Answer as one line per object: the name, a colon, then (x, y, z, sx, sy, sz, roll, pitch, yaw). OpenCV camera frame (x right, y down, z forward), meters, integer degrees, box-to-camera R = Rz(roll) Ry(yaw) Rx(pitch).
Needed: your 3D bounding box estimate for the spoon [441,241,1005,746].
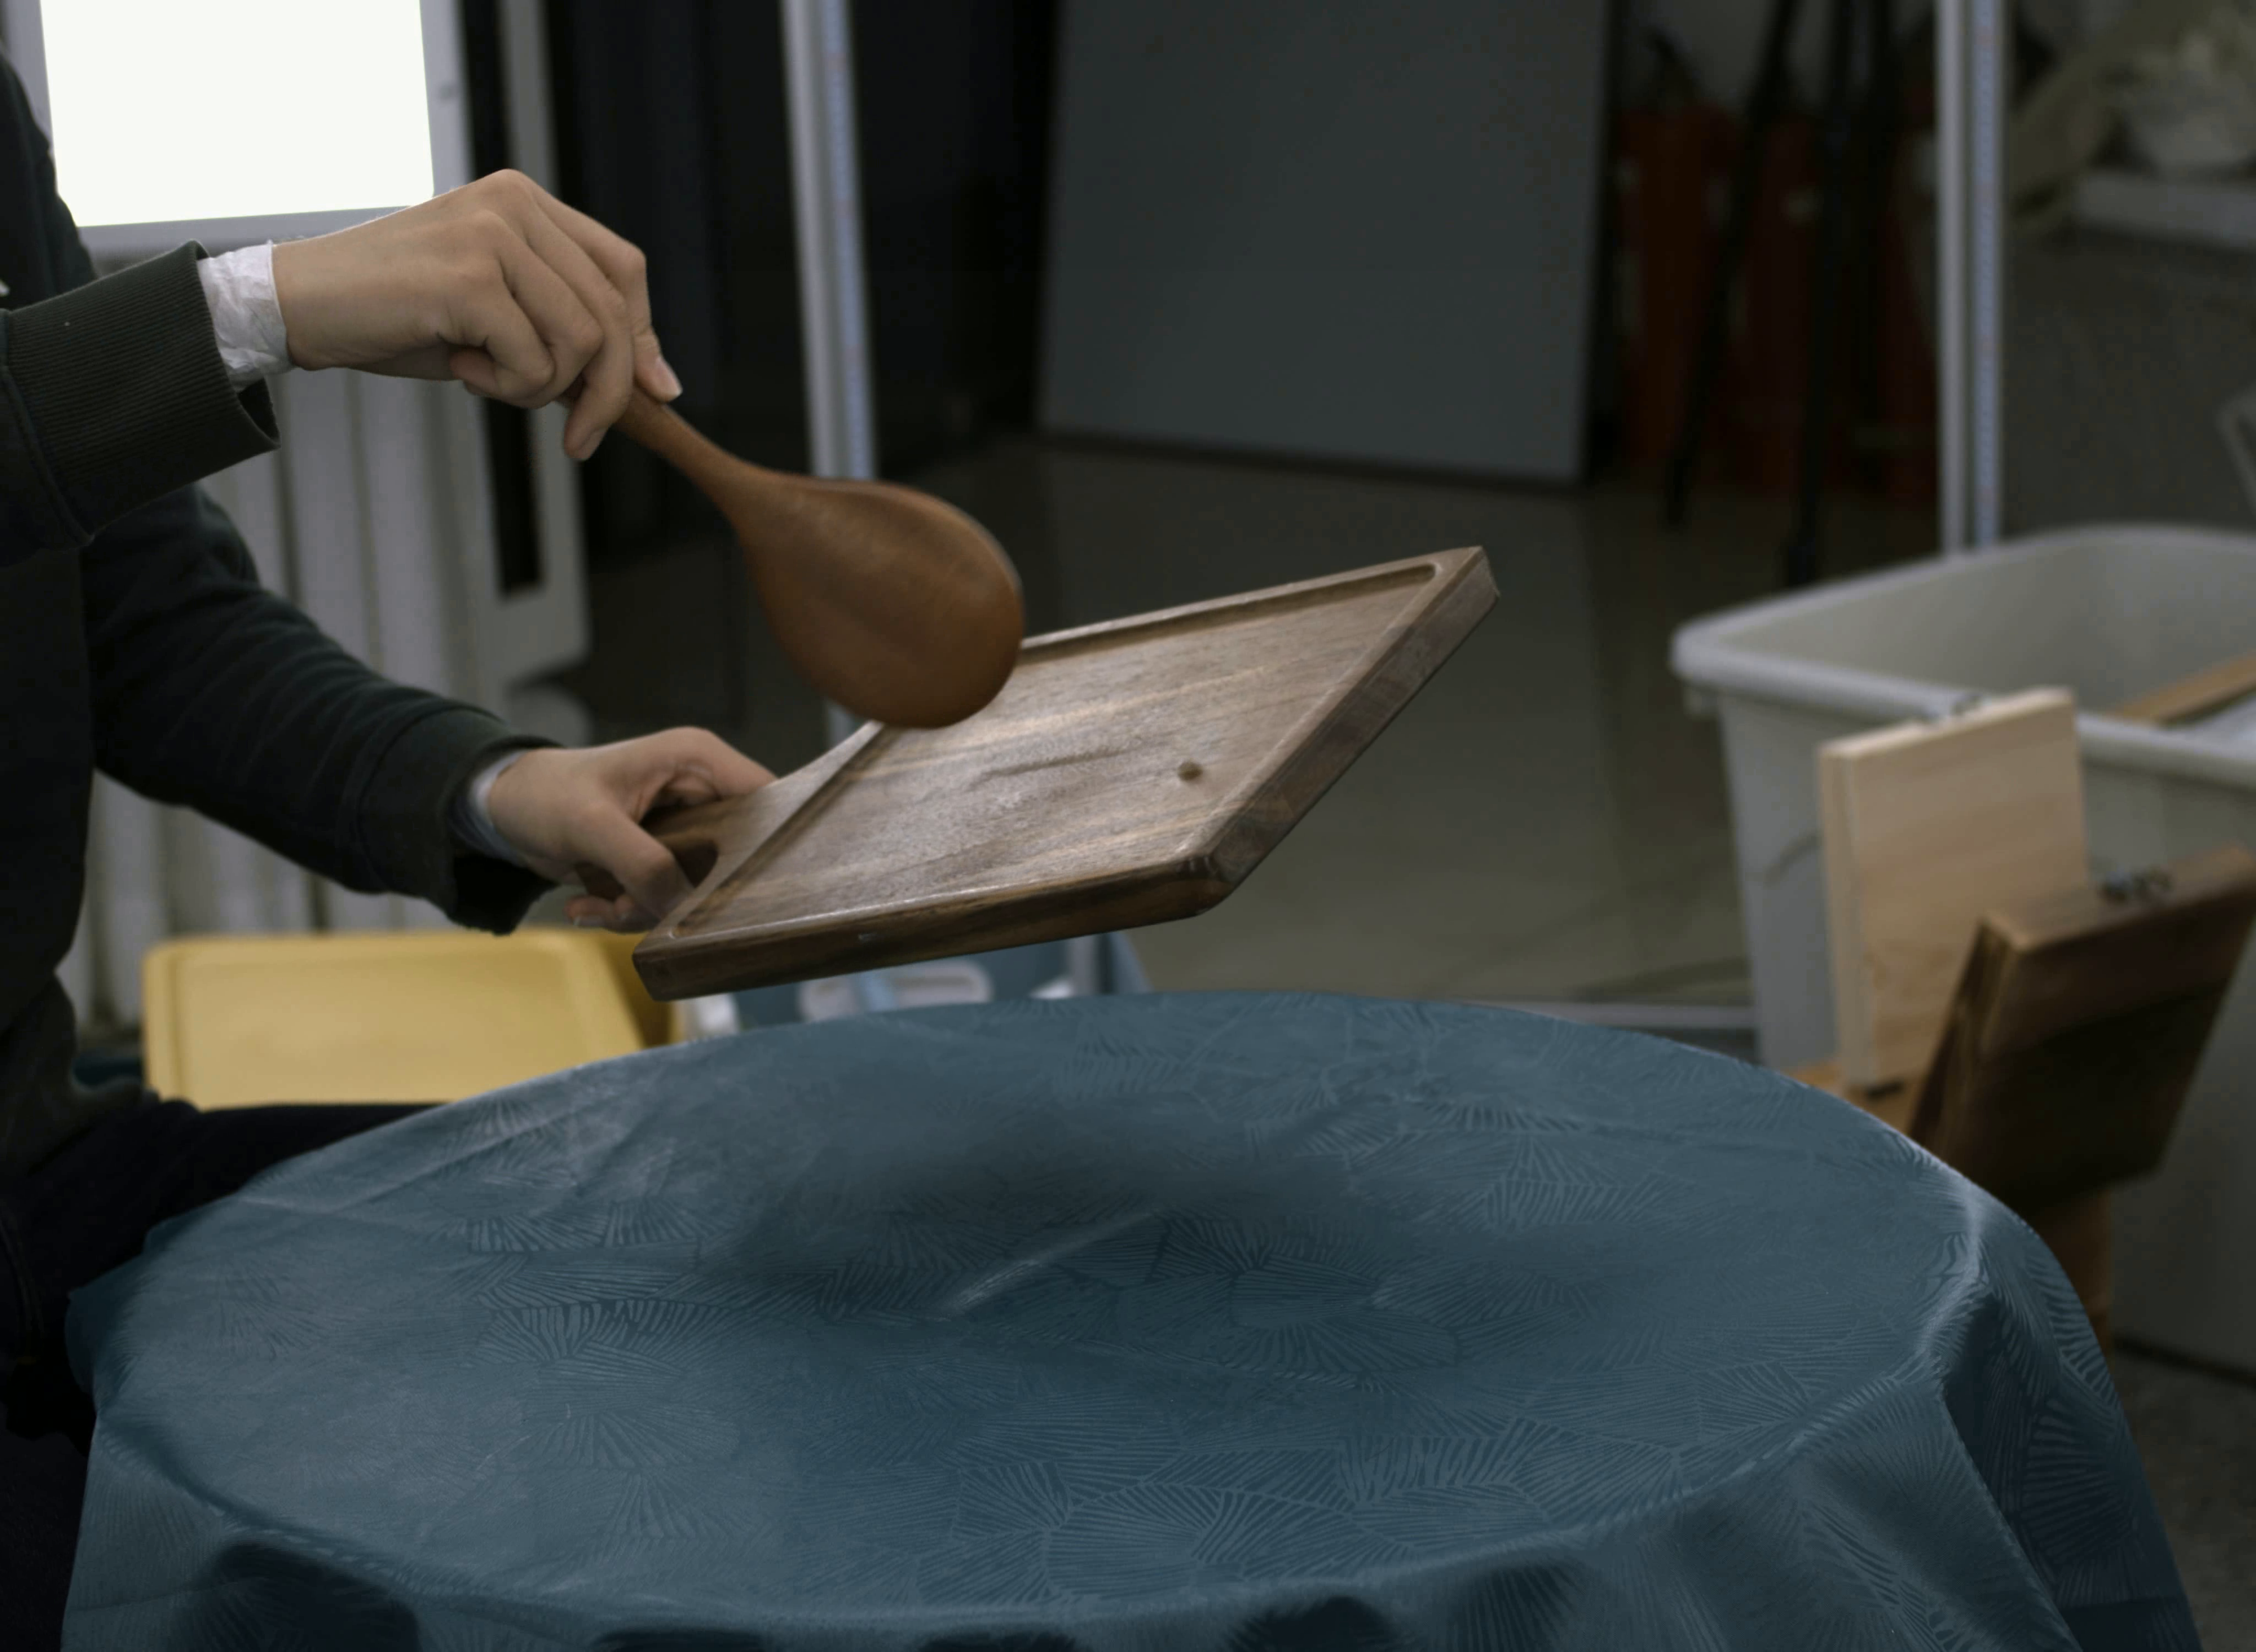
spoon: (-0.127, -0.105, 1.685, 0.076, 0.214, 0.017, -48, 11, 9)

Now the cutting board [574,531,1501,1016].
cutting board: (-0.056, -0.009, 1.770, 0.355, 0.023, 0.199, -12, 26, 42)
